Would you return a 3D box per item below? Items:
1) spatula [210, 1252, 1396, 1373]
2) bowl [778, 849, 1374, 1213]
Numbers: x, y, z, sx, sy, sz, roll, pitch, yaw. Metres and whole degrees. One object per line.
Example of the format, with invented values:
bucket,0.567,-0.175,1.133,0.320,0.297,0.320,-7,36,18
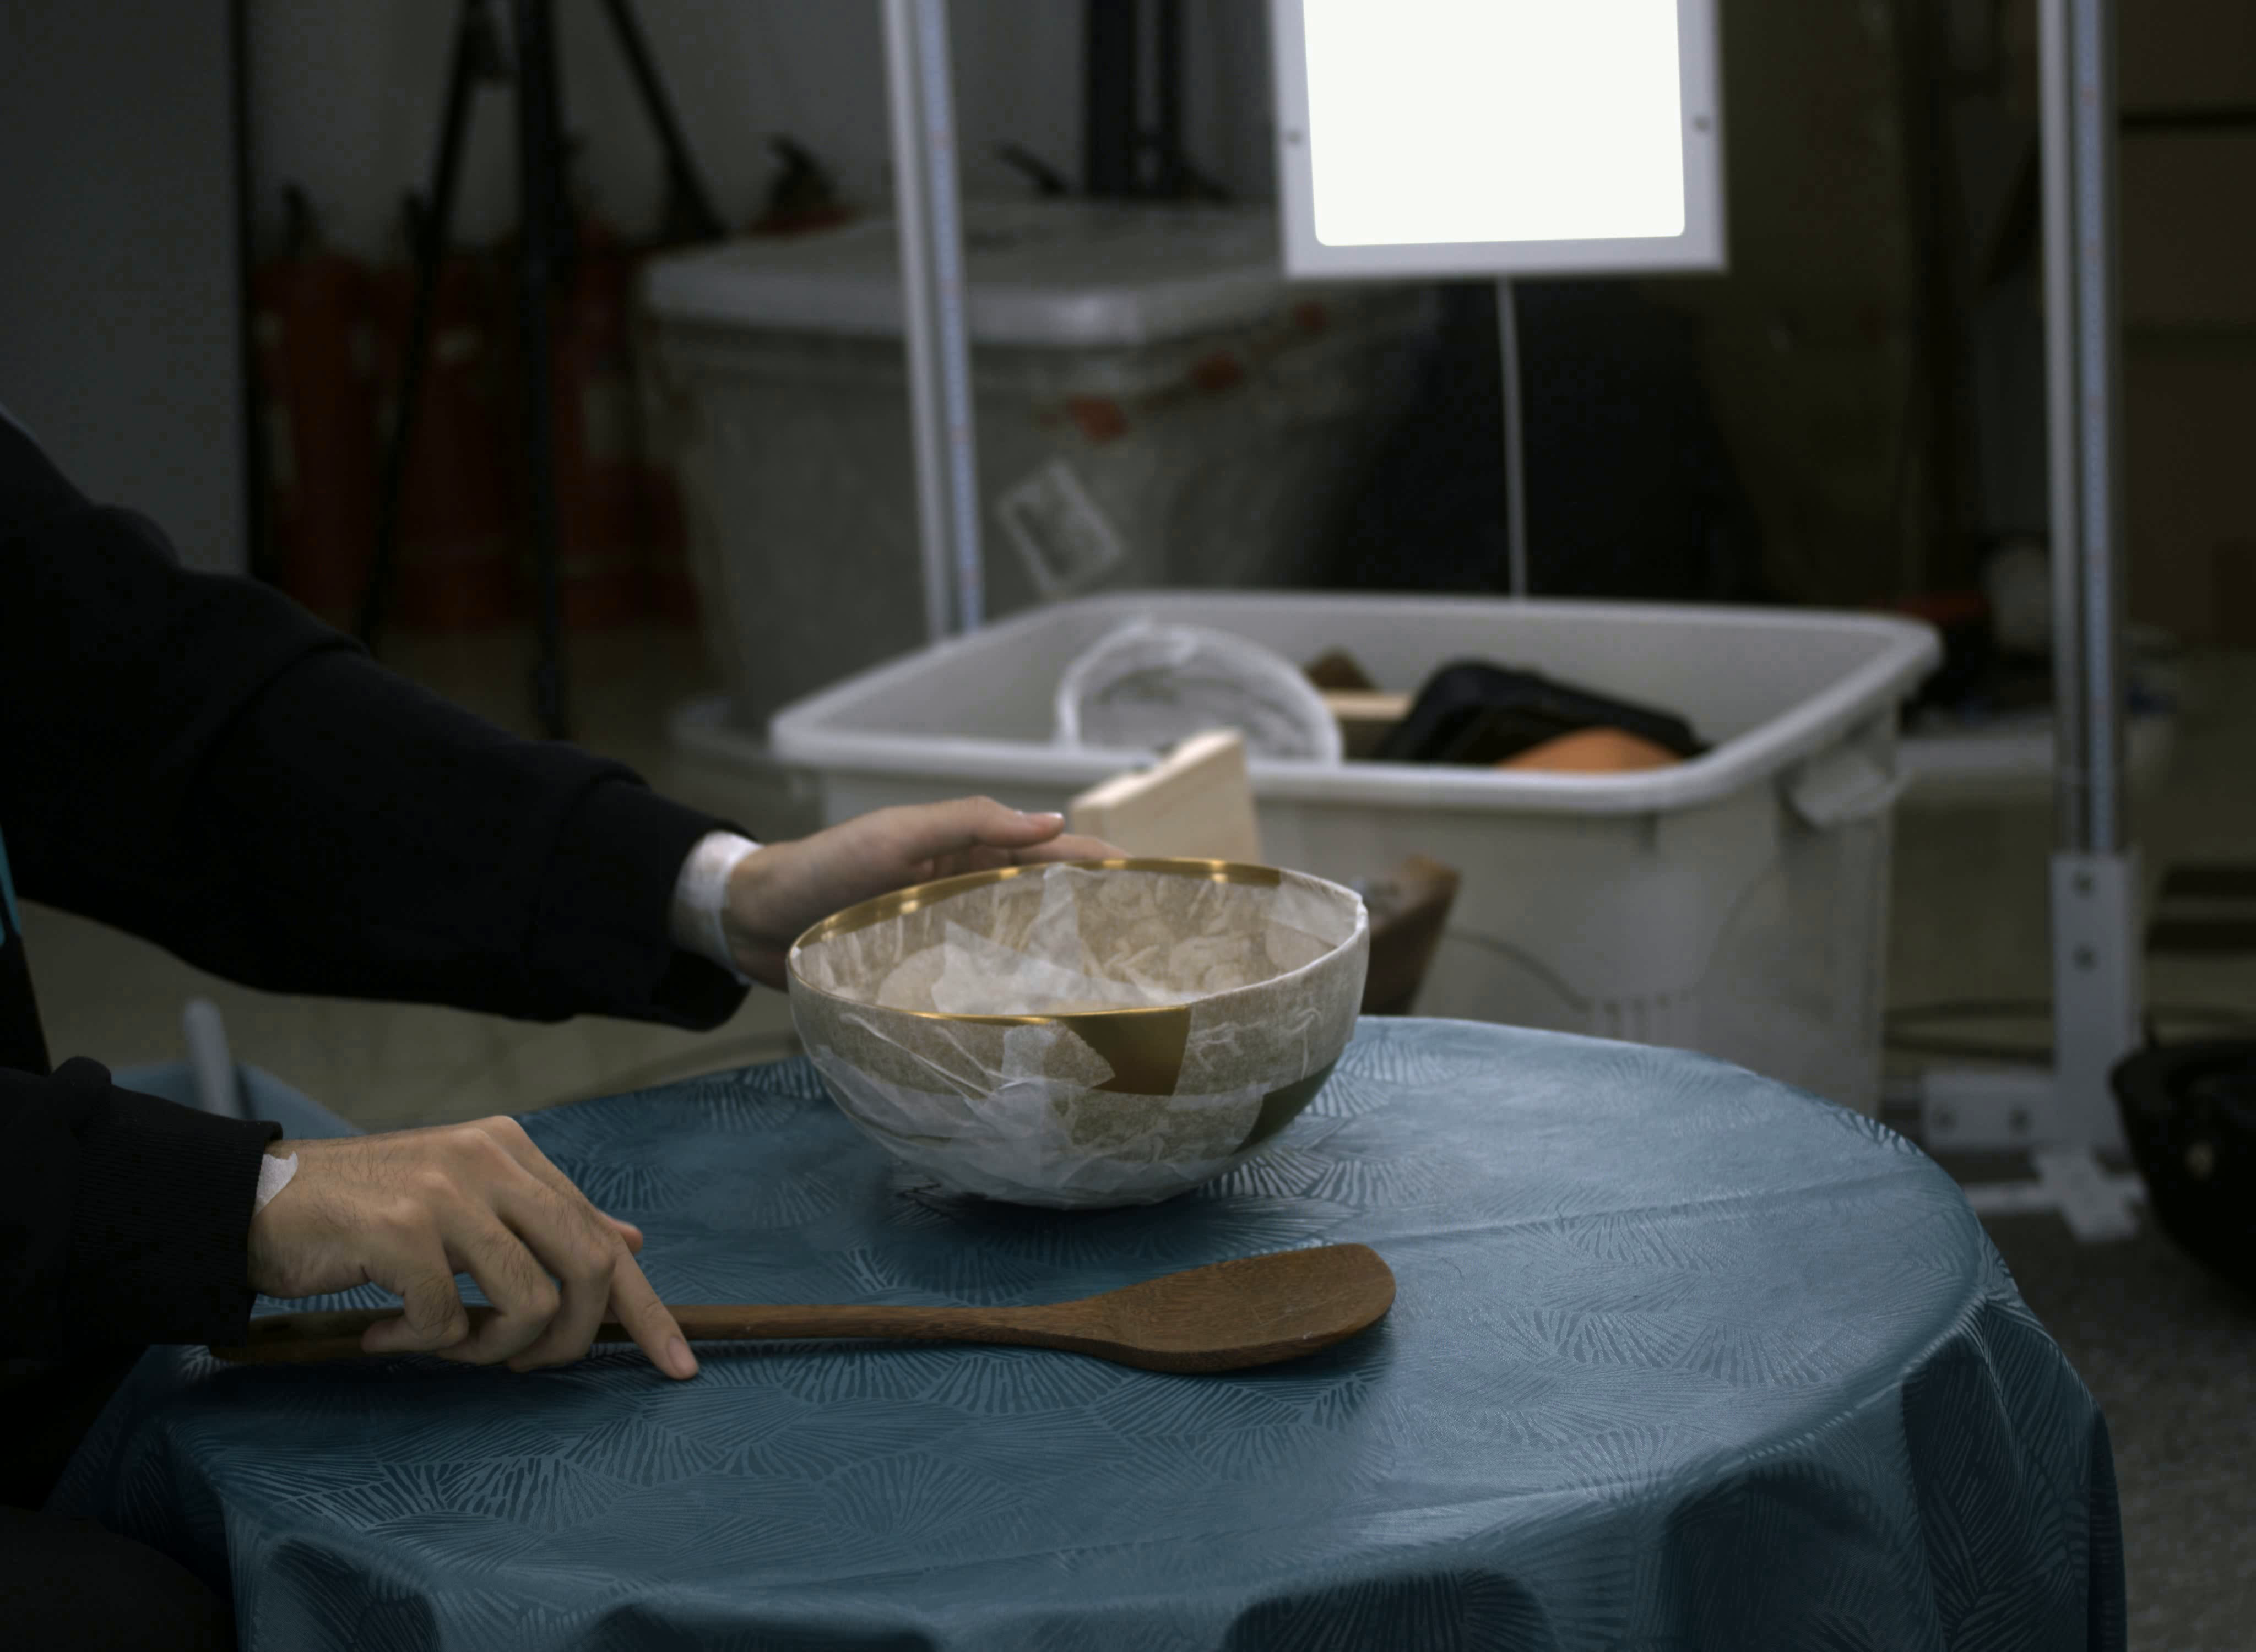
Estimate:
spatula,-0.106,0.159,1.766,0.387,0.016,0.095,-2,13,8
bowl,-0.015,0.078,1.904,0.214,0.095,0.214,-7,15,0
